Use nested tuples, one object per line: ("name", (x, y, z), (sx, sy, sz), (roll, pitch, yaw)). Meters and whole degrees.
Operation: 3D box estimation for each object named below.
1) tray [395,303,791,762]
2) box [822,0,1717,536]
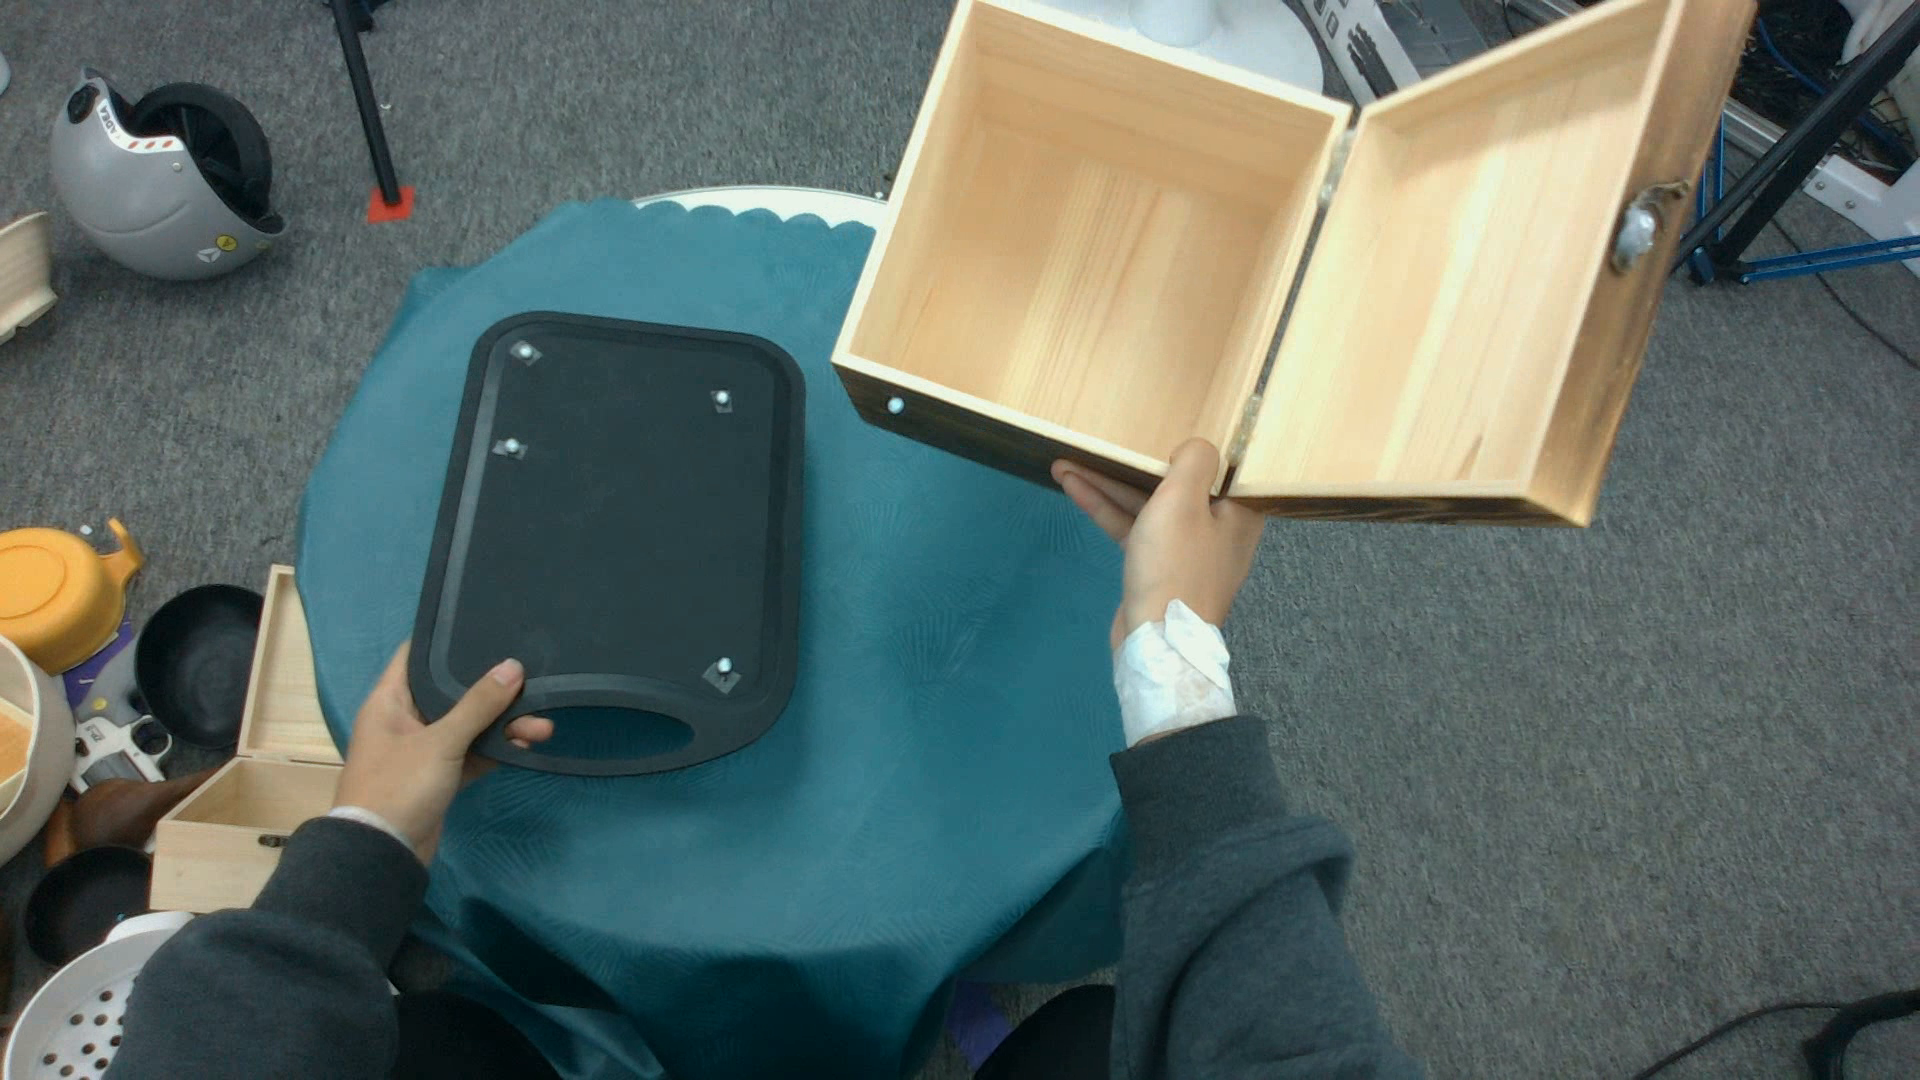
("tray", (-0.209, -0.017, 0.825), (0.211, 0.010, 0.327), (4, 55, -11))
("box", (0.111, -0.140, 0.670), (0.322, 0.375, 0.209), (20, 81, 0))
